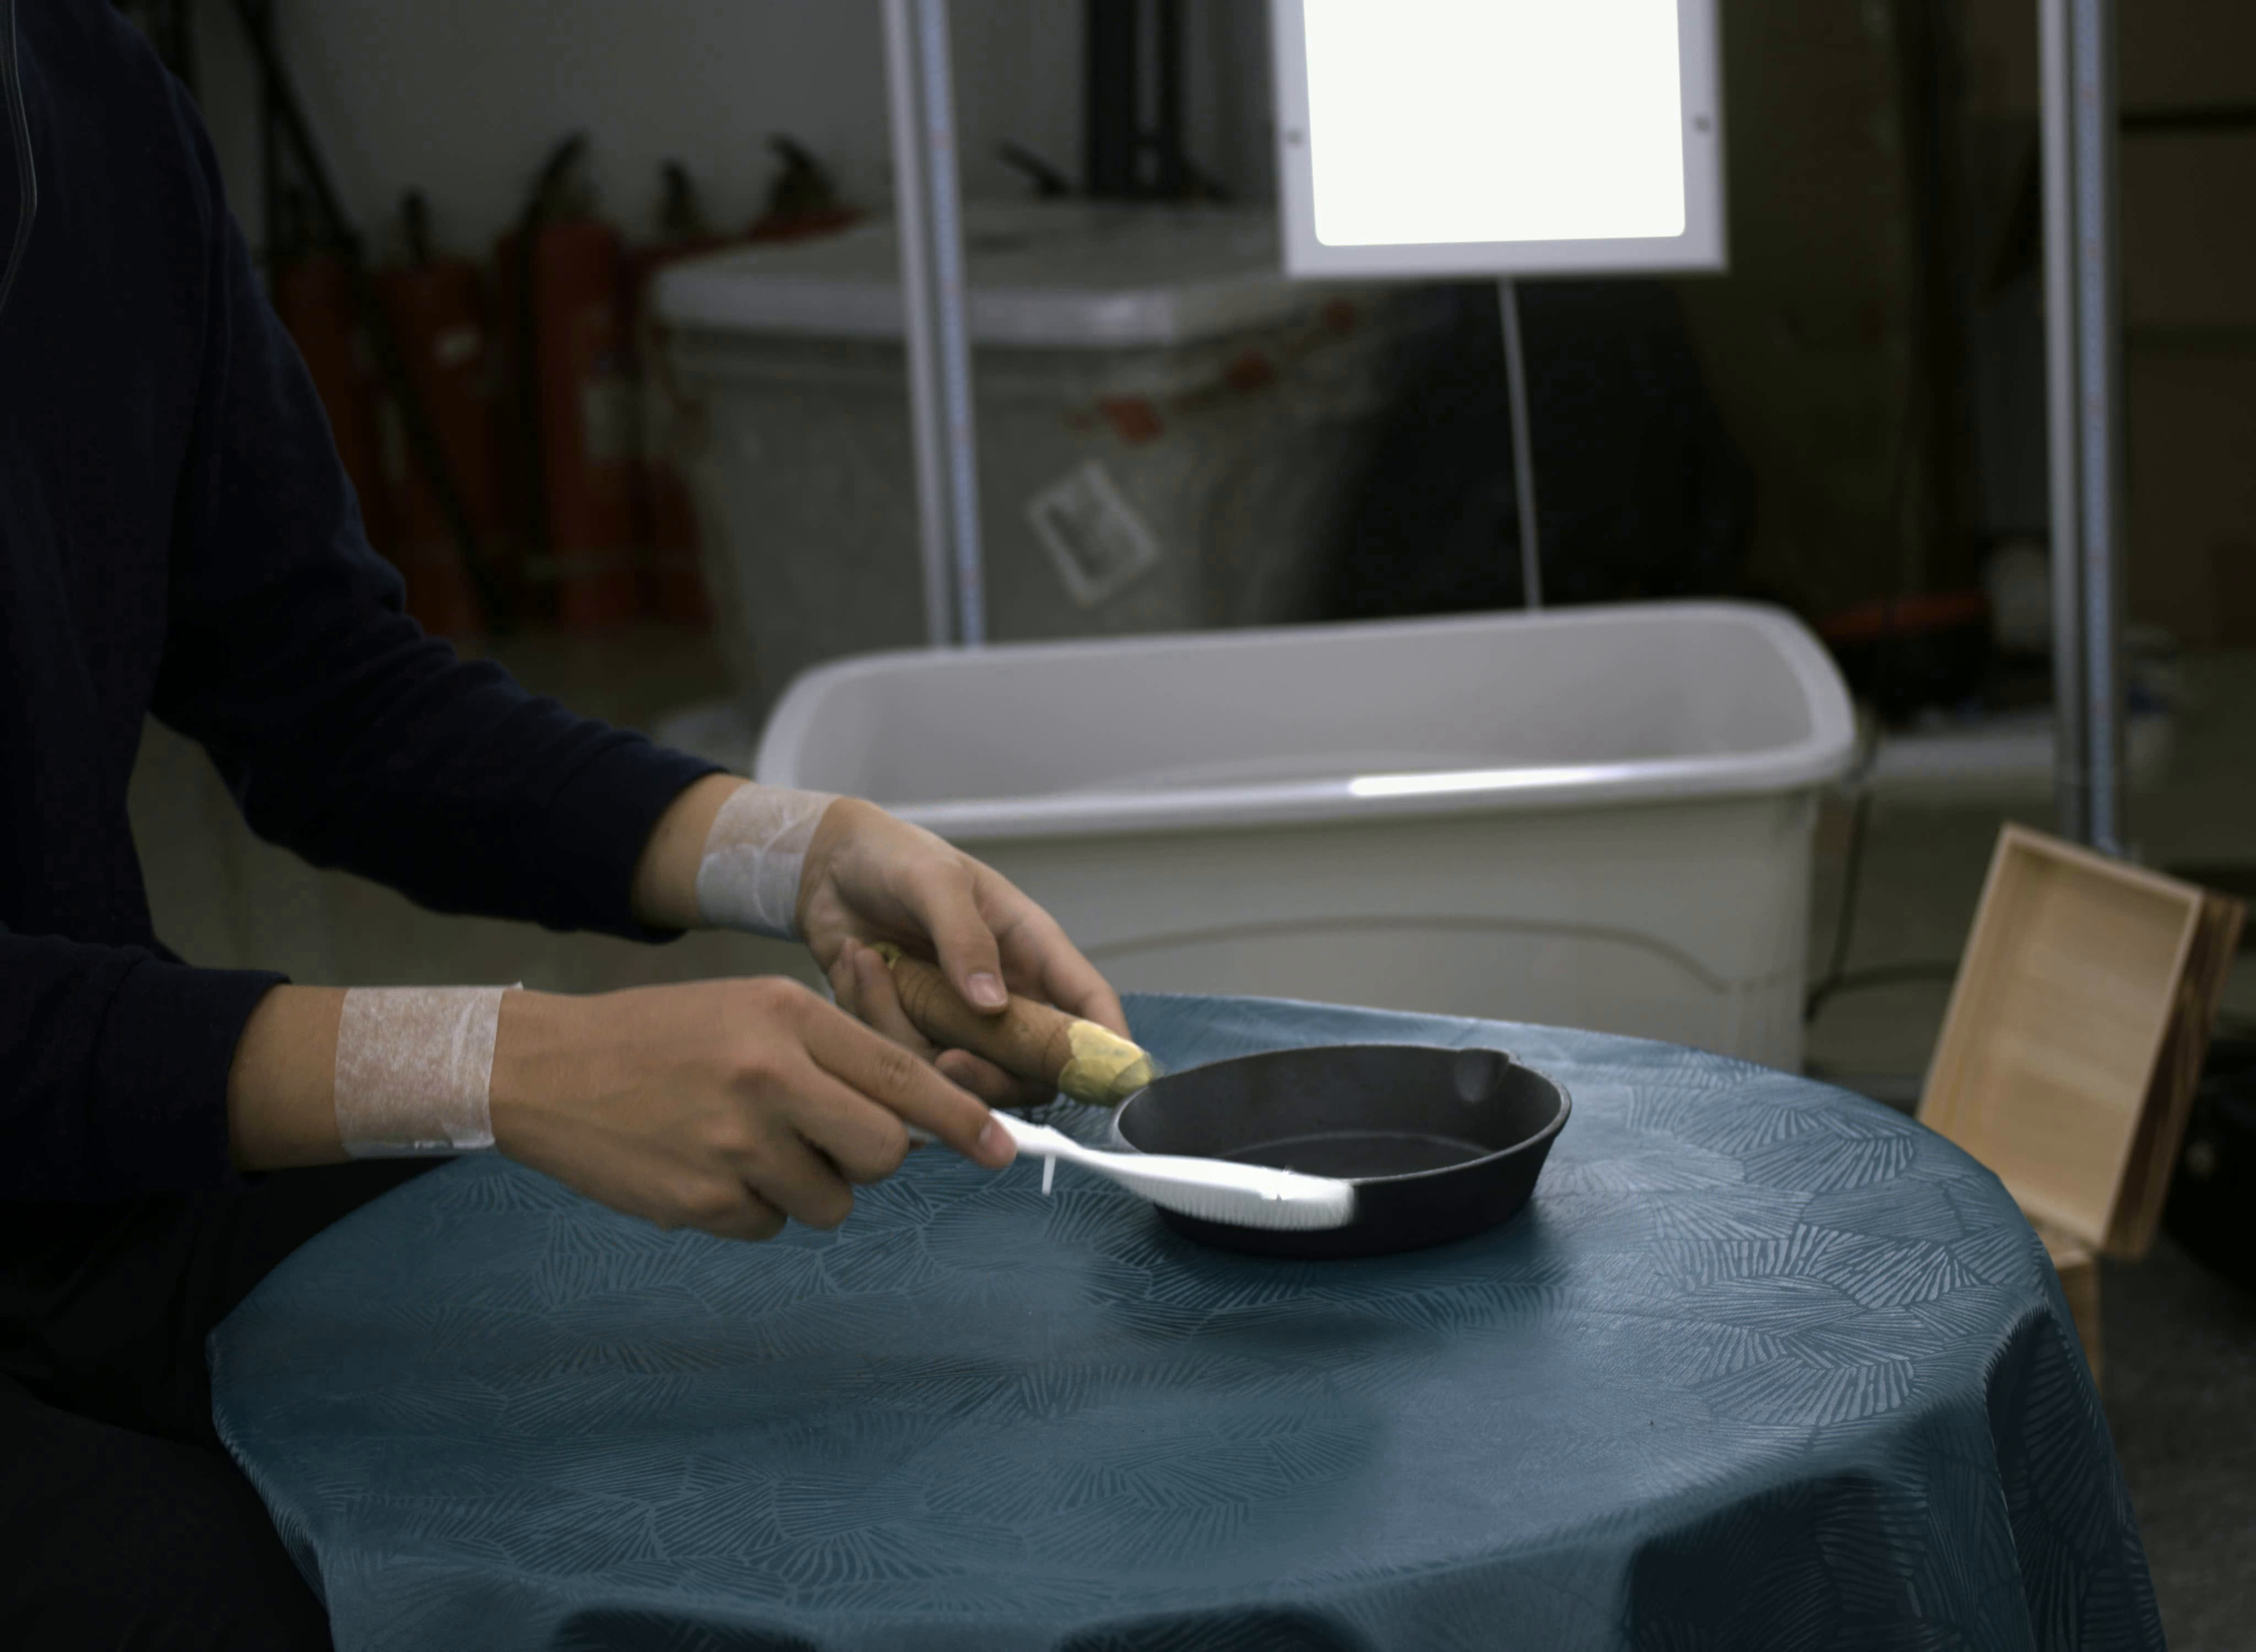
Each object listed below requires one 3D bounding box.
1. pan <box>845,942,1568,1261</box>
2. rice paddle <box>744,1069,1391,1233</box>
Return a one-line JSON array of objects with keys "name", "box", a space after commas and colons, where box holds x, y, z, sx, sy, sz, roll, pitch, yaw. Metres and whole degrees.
[{"name": "pan", "box": [0.014, 0.091, 1.922, 0.164, 0.050, 0.331, -17, 20, -39]}, {"name": "rice paddle", "box": [-0.018, 0.105, 1.734, 0.205, 0.029, 0.068, 8, 4, 3]}]
